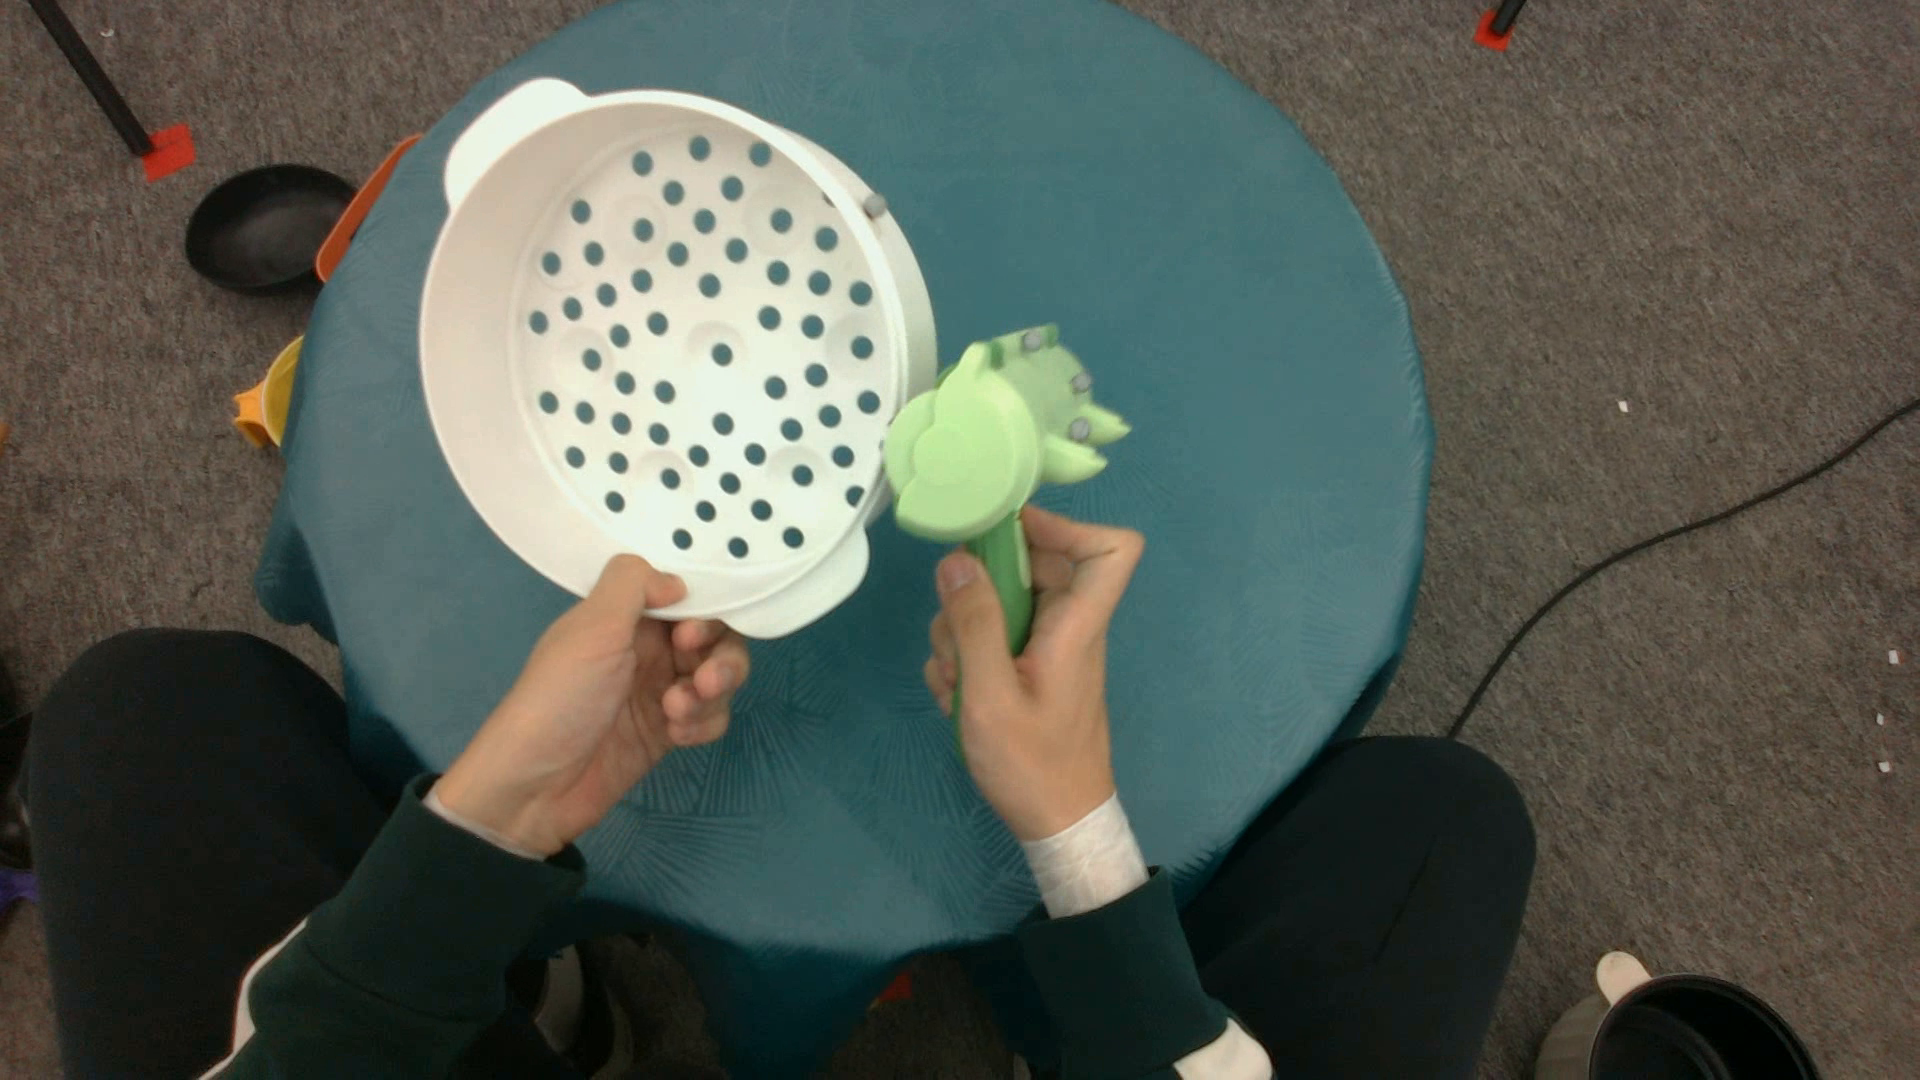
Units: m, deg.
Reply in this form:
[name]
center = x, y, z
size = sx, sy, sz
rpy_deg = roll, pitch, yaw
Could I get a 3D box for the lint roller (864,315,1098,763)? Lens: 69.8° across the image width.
[lint roller]
center = 0.021, 0.002, 0.568
size = 0.082, 0.199, 0.183
rpy_deg = -8, 99, 10

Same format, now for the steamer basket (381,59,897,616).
[steamer basket]
center = -0.124, -0.080, 0.548
size = 0.201, 0.069, 0.230
rpy_deg = -34, 92, 17
